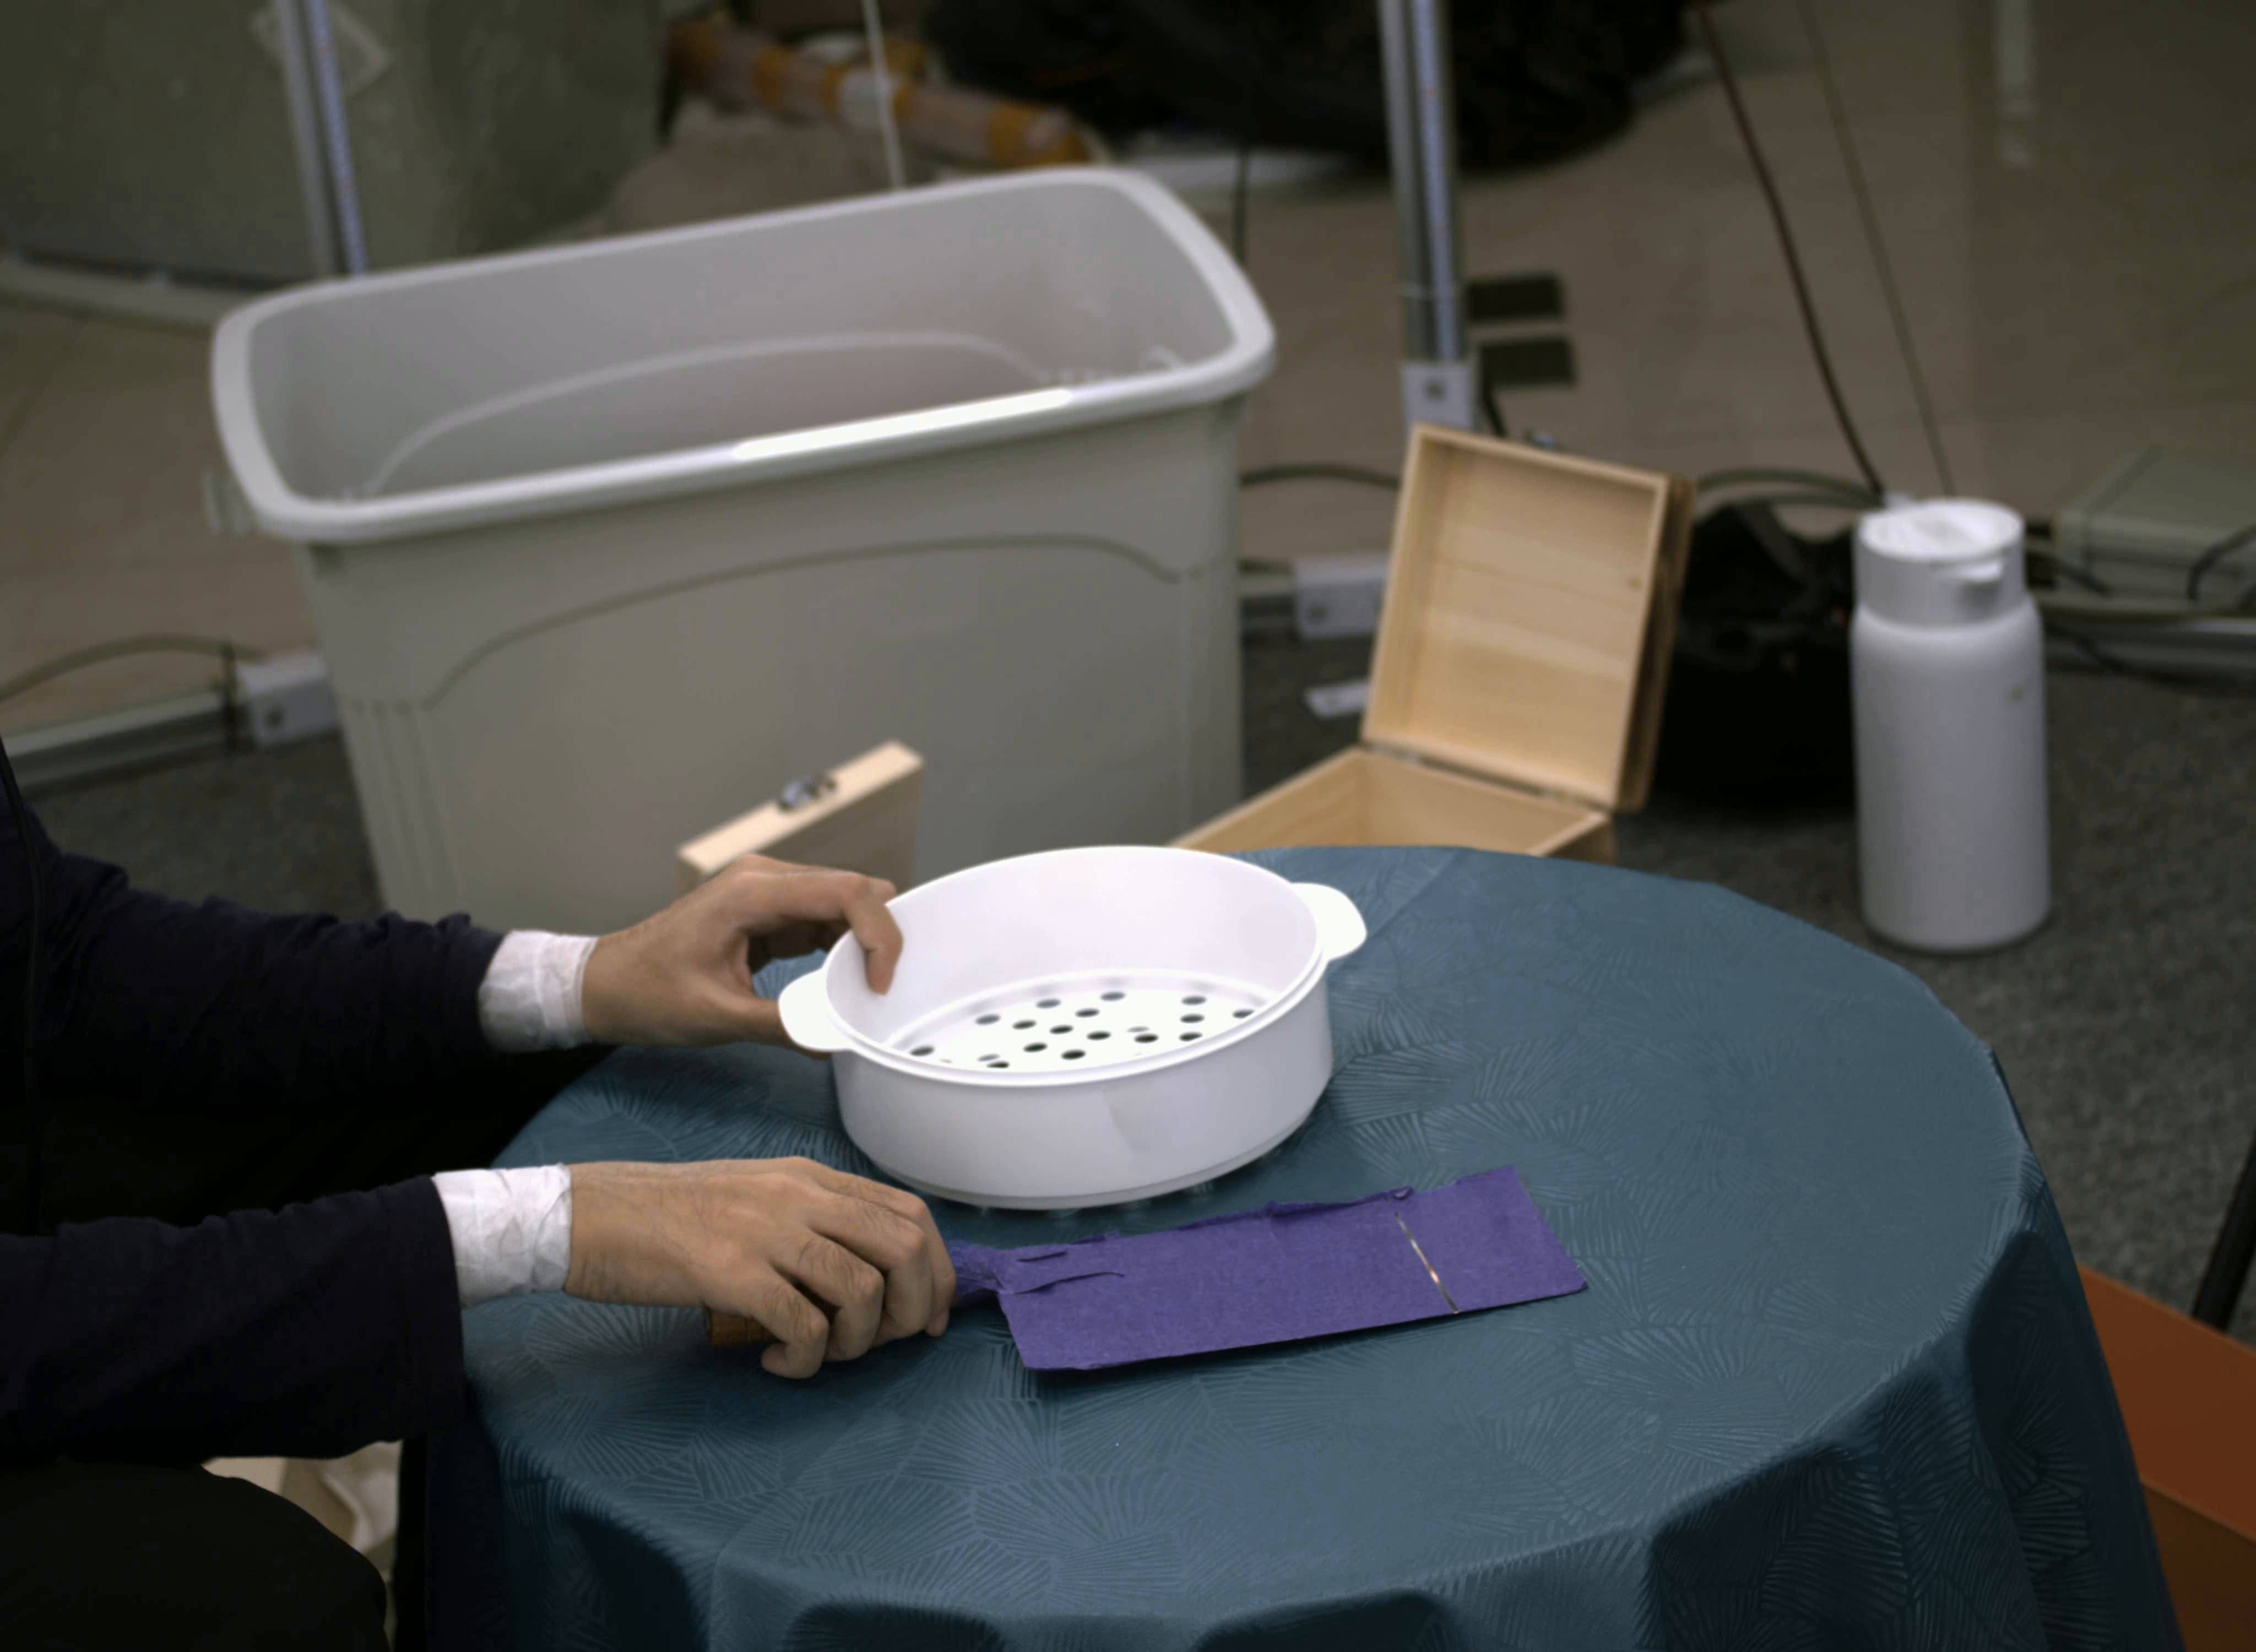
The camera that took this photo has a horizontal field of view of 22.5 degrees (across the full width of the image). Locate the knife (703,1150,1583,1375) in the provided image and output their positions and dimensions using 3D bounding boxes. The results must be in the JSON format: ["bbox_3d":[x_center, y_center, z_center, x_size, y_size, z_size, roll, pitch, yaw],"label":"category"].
[{"bbox_3d":[0.006,0.165,2.061,0.314,0.033,0.102,-10,25,-9],"label":"knife"}]

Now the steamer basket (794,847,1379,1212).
[{"bbox_3d":[-0.012,0.080,2.204,0.230,0.070,0.199,-13,24,-7],"label":"steamer basket"}]
